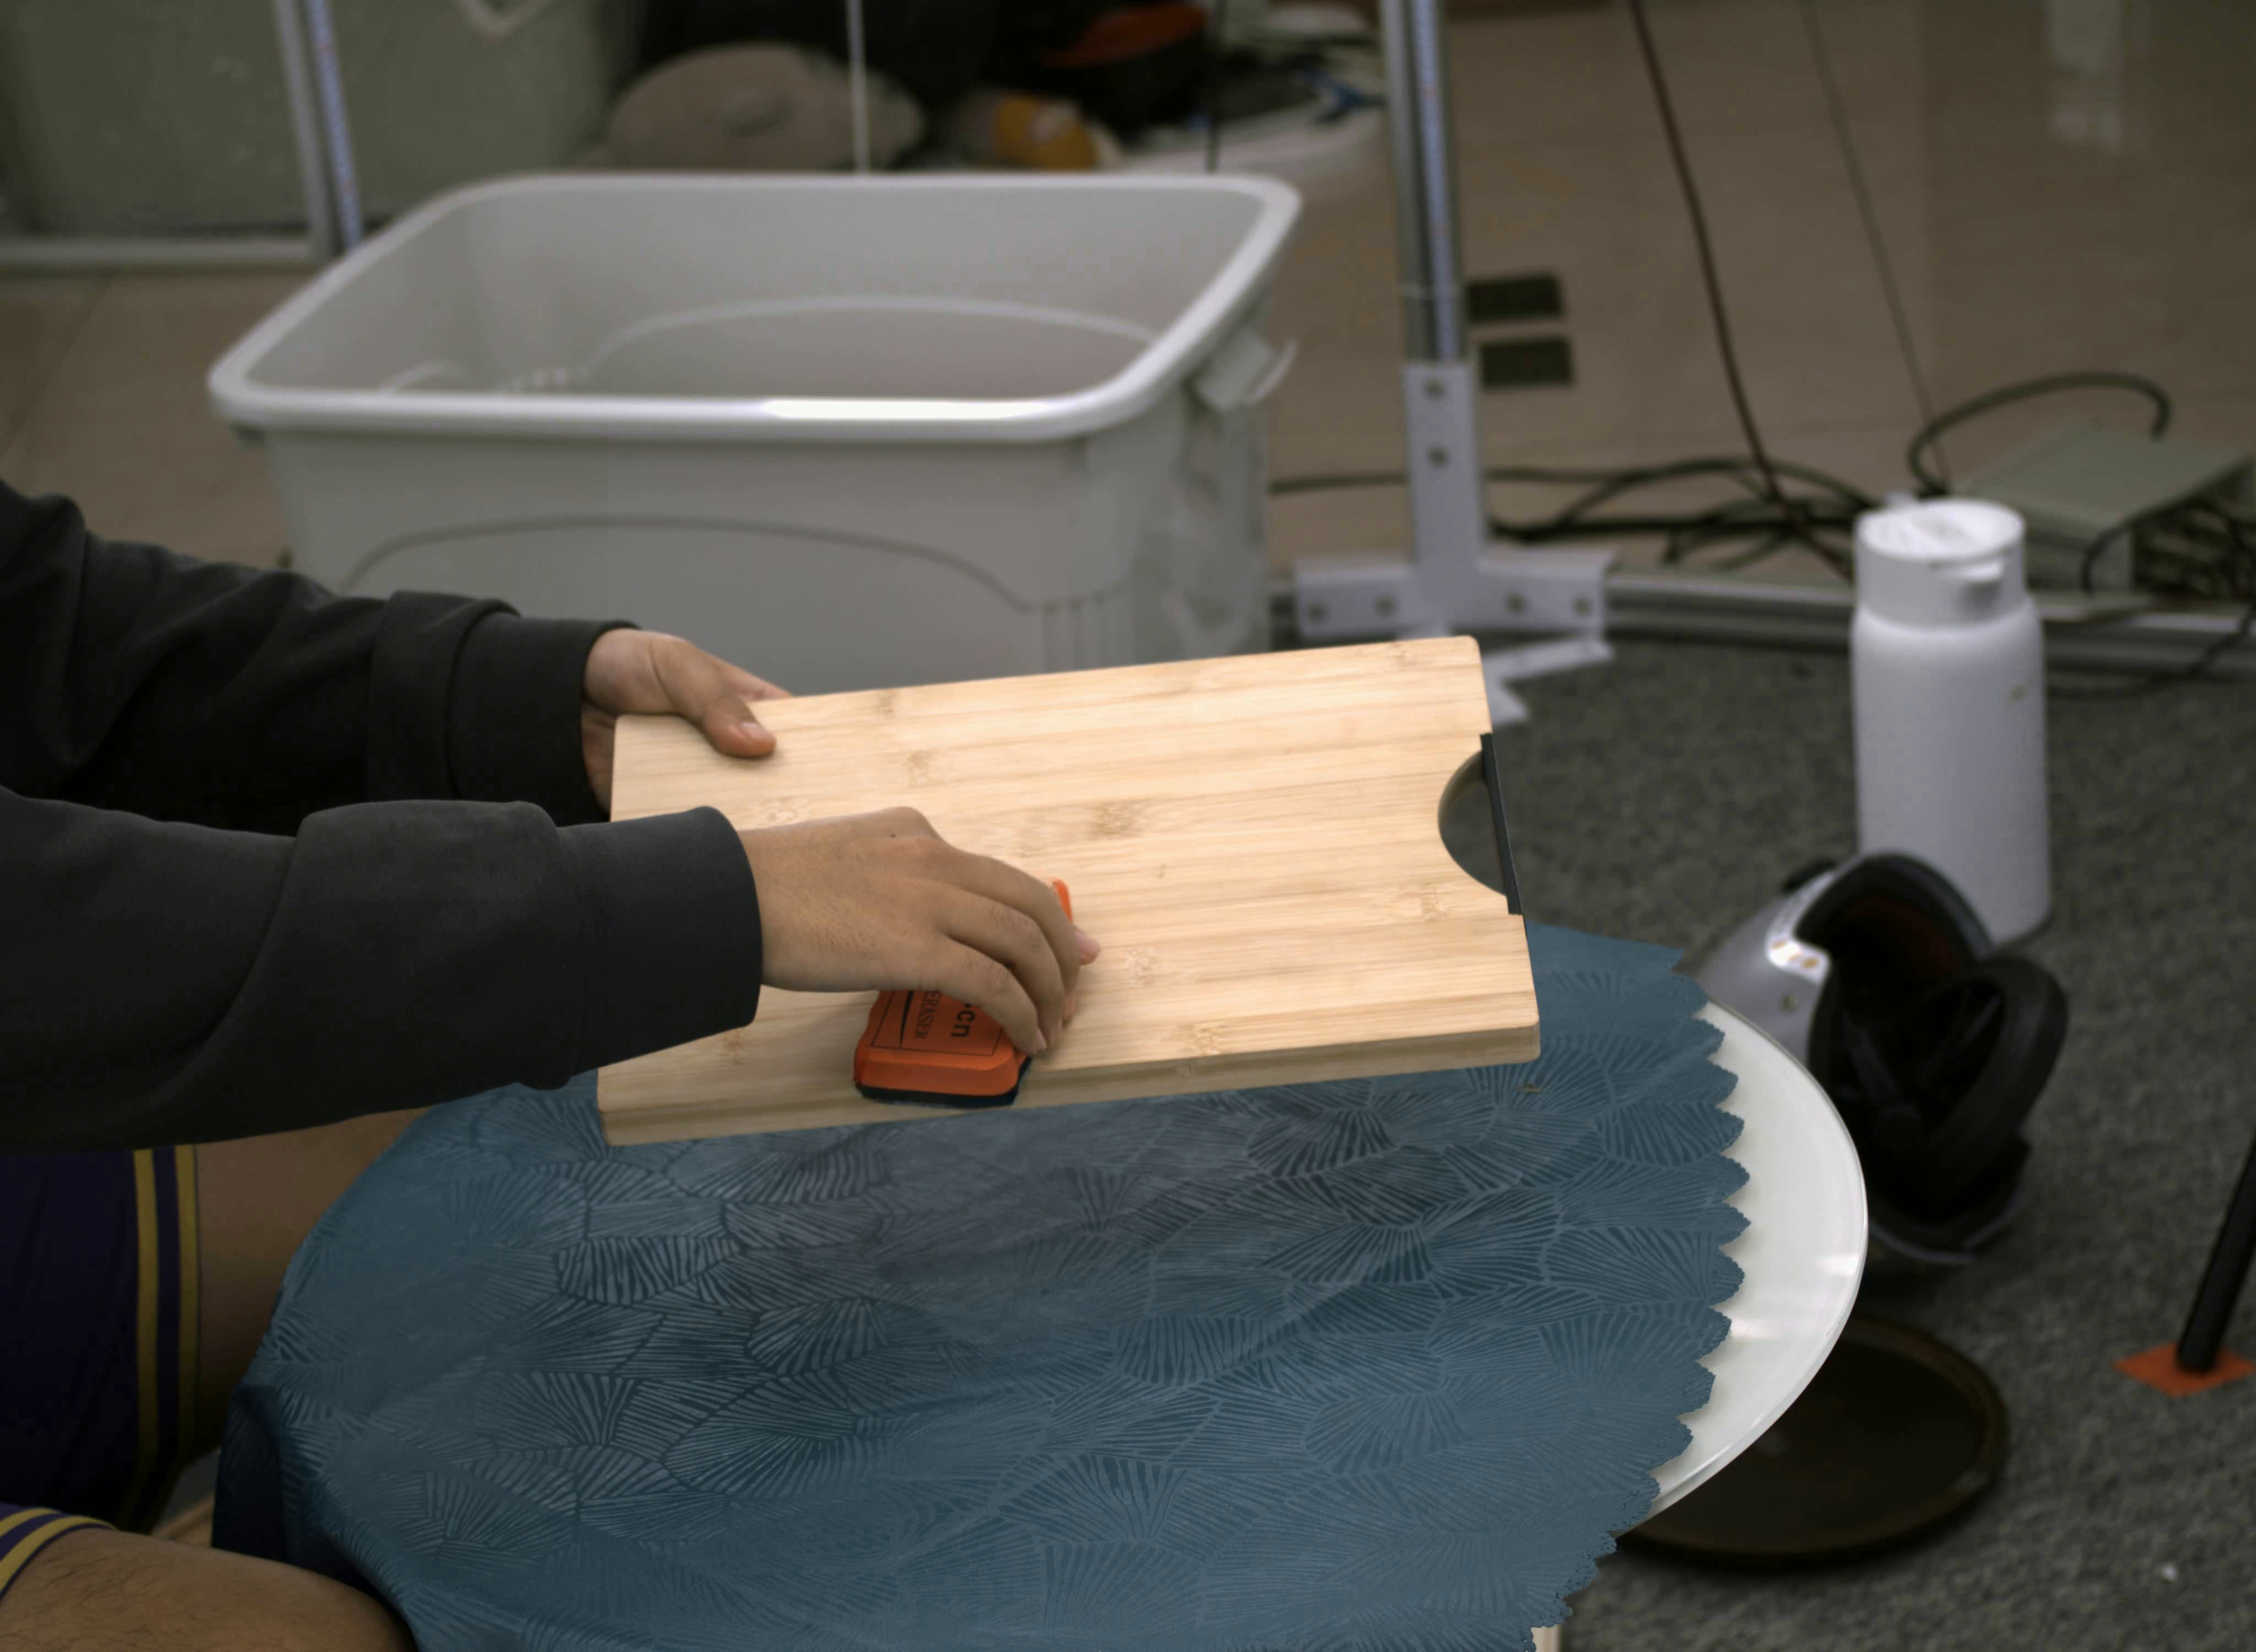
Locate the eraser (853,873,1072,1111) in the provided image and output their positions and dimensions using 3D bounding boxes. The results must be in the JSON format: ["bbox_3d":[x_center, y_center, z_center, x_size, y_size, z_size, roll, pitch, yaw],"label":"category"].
[{"bbox_3d":[-0.059,0.059,2.046,0.059,0.023,0.106,4,39,14],"label":"eraser"}]

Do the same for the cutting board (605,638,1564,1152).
[{"bbox_3d":[-0.021,0.021,2.122,0.348,0.024,0.246,-6,39,0],"label":"cutting board"}]
